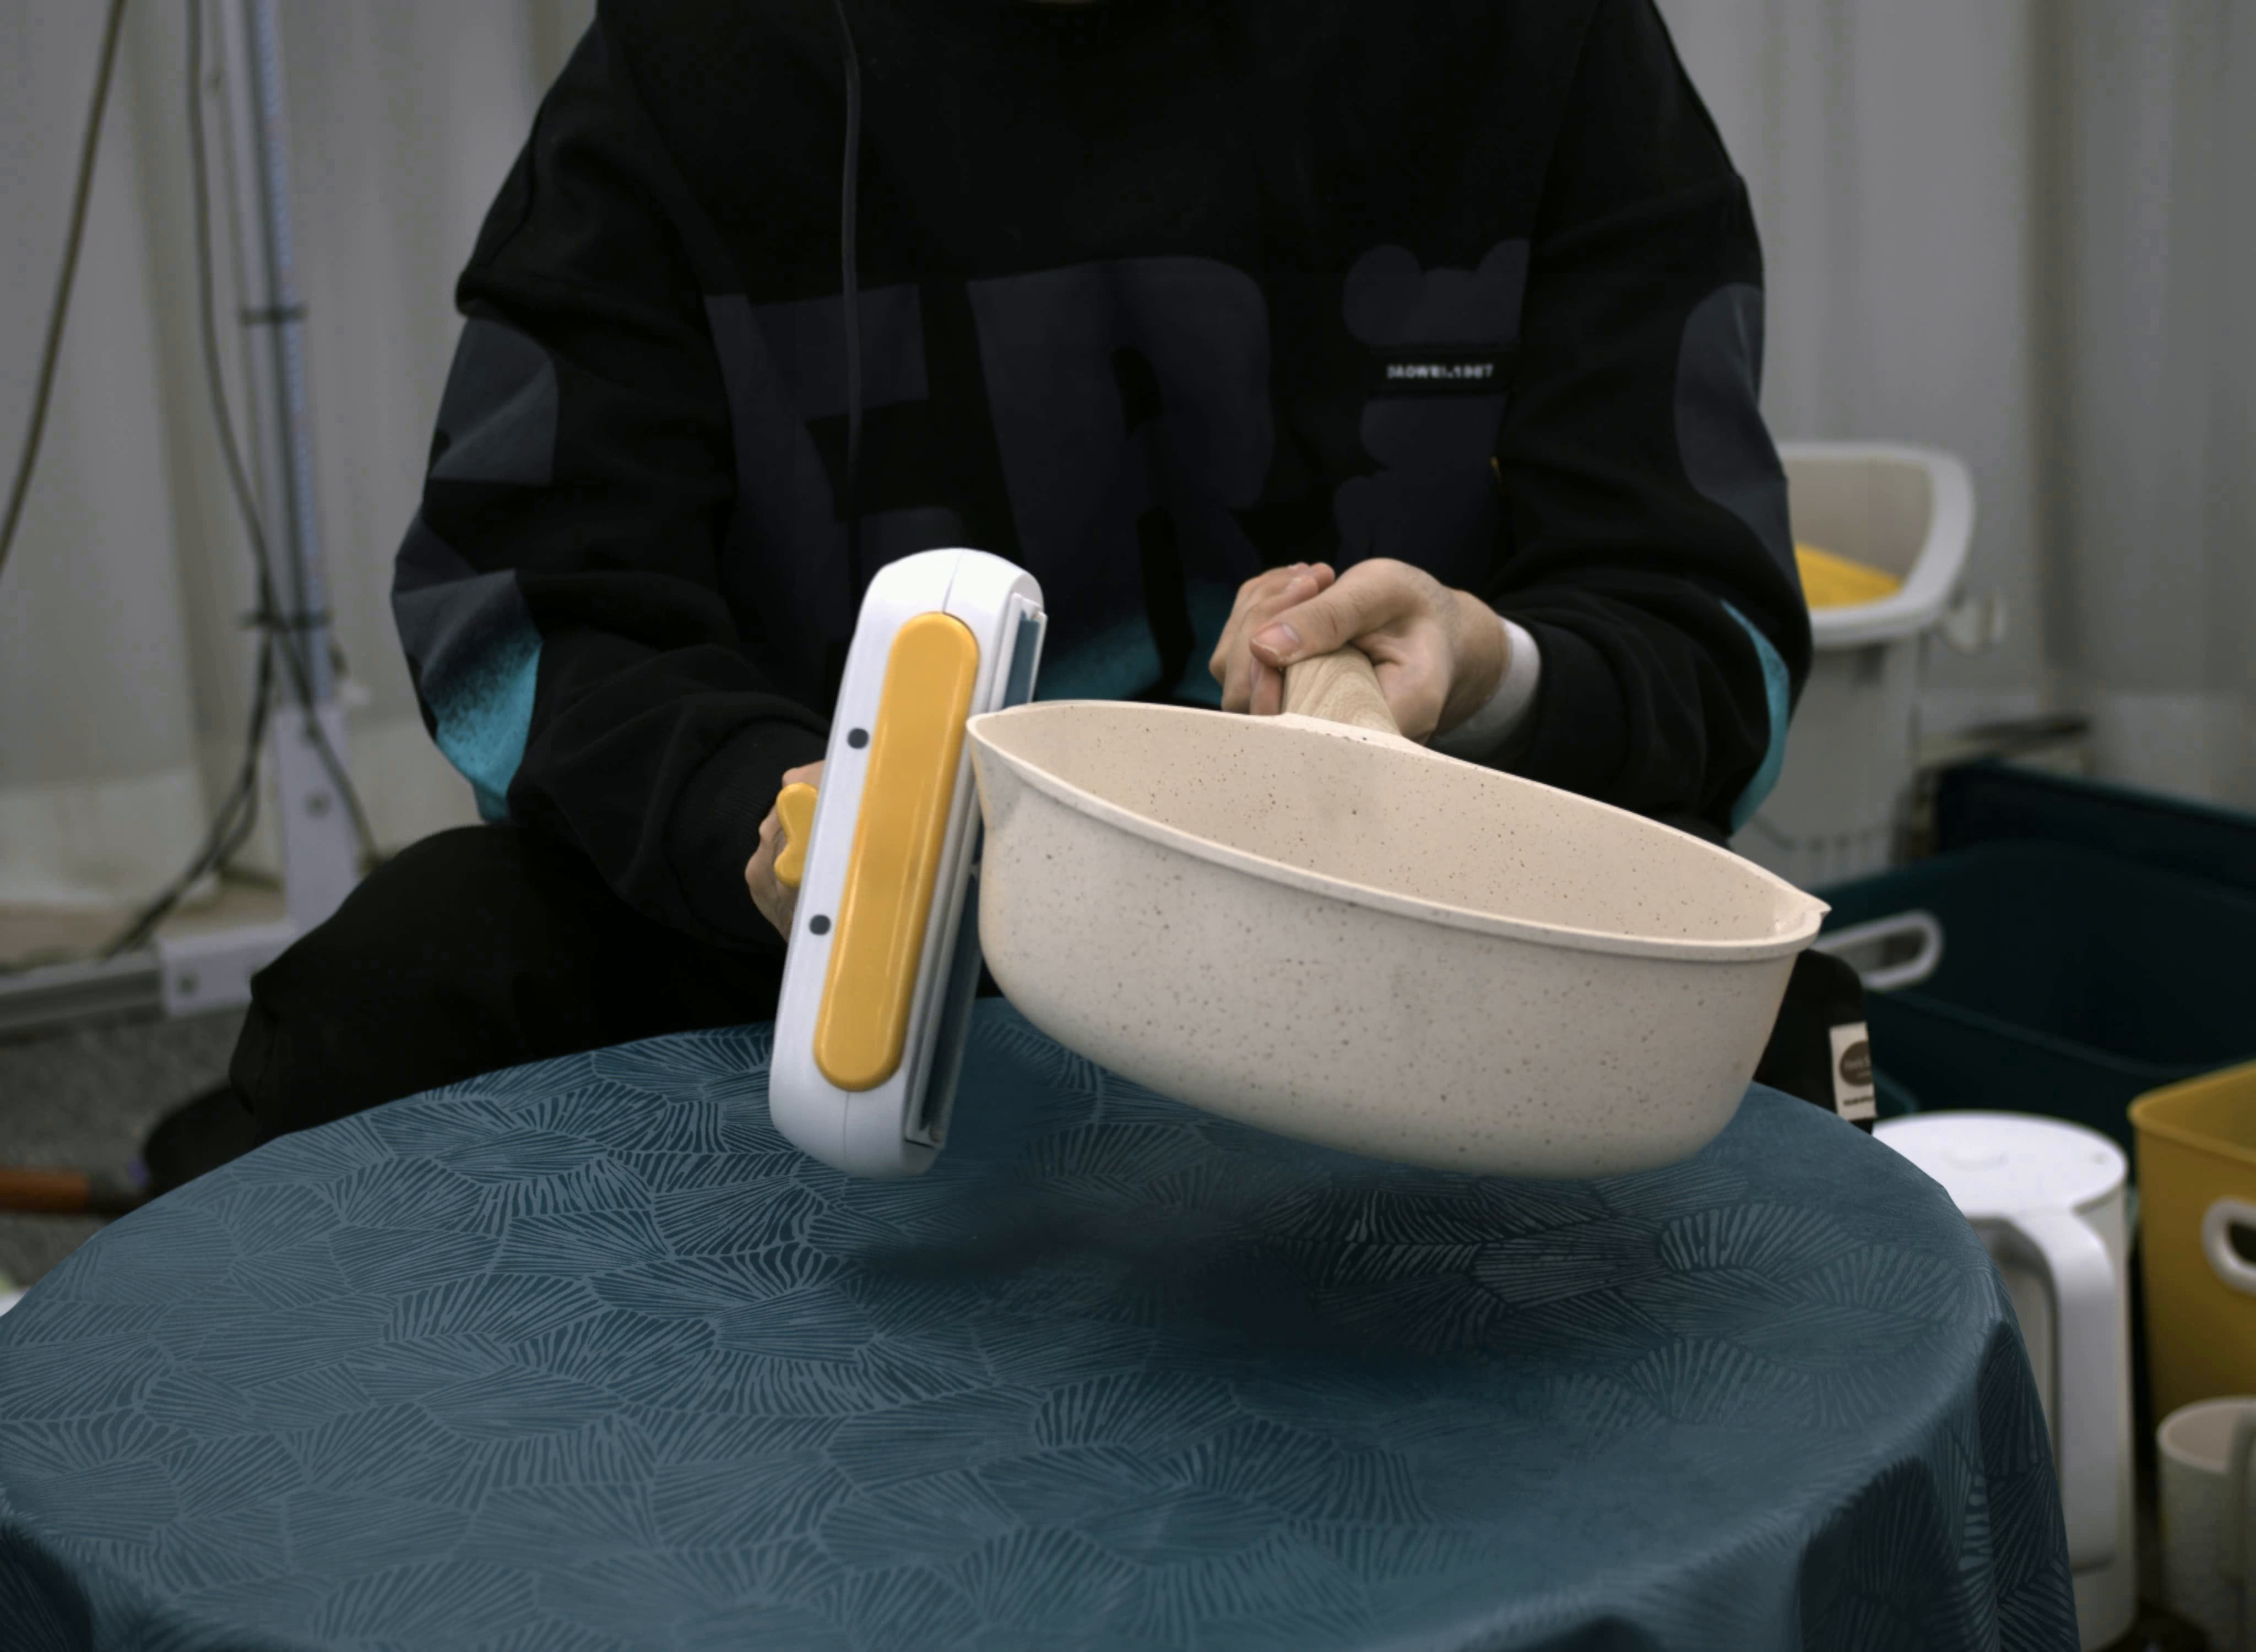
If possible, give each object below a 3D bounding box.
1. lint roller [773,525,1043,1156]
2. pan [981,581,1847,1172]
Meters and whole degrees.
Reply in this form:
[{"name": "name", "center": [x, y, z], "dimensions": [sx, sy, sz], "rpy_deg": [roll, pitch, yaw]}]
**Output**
[{"name": "lint roller", "center": [-0.071, 0.013, 1.719], "dimensions": [0.074, 0.194, 0.191], "rpy_deg": [6, -10, 3]}, {"name": "pan", "center": [0.070, 0.009, 1.700], "dimensions": [0.262, 0.102, 0.437], "rpy_deg": [9, 11, -7]}]
